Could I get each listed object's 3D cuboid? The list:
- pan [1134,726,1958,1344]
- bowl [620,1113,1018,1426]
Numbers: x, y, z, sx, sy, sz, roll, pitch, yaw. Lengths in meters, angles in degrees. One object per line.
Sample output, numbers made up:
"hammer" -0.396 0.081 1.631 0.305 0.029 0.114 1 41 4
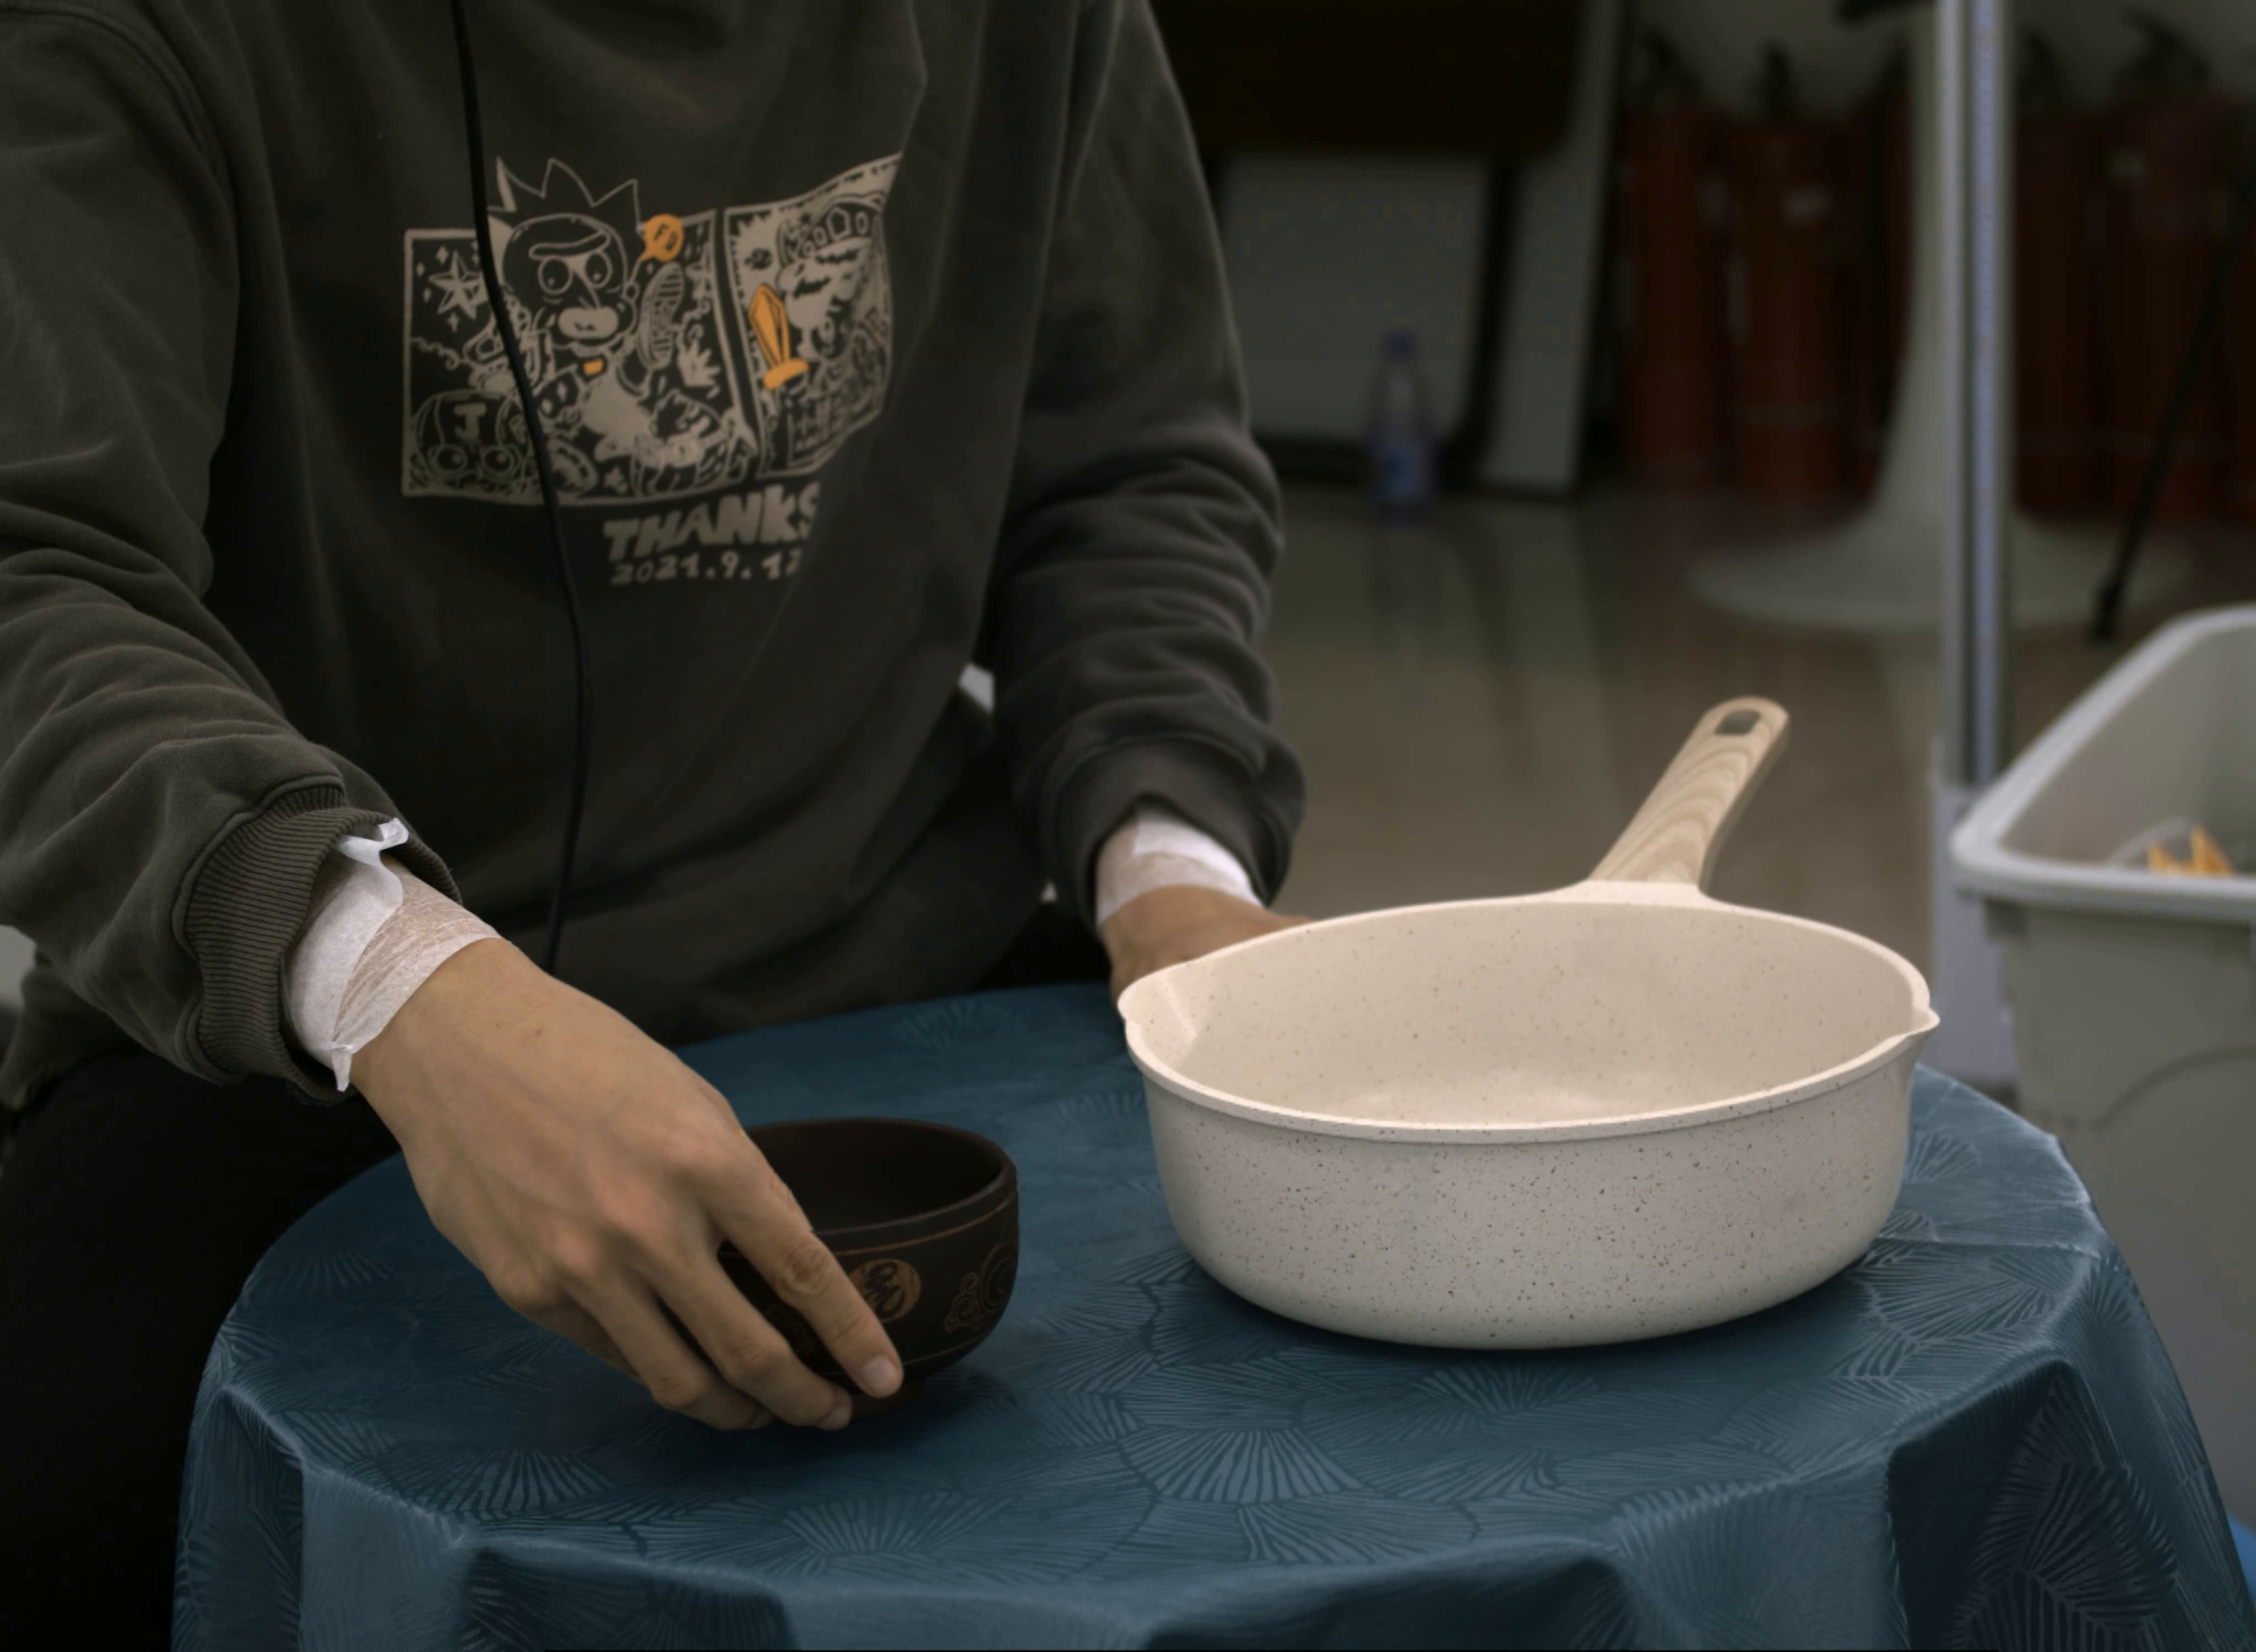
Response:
"pan" 0.160 0.065 1.755 0.263 0.103 0.430 -1 13 21
"bowl" -0.089 0.135 1.594 0.116 0.070 0.118 -4 15 0
